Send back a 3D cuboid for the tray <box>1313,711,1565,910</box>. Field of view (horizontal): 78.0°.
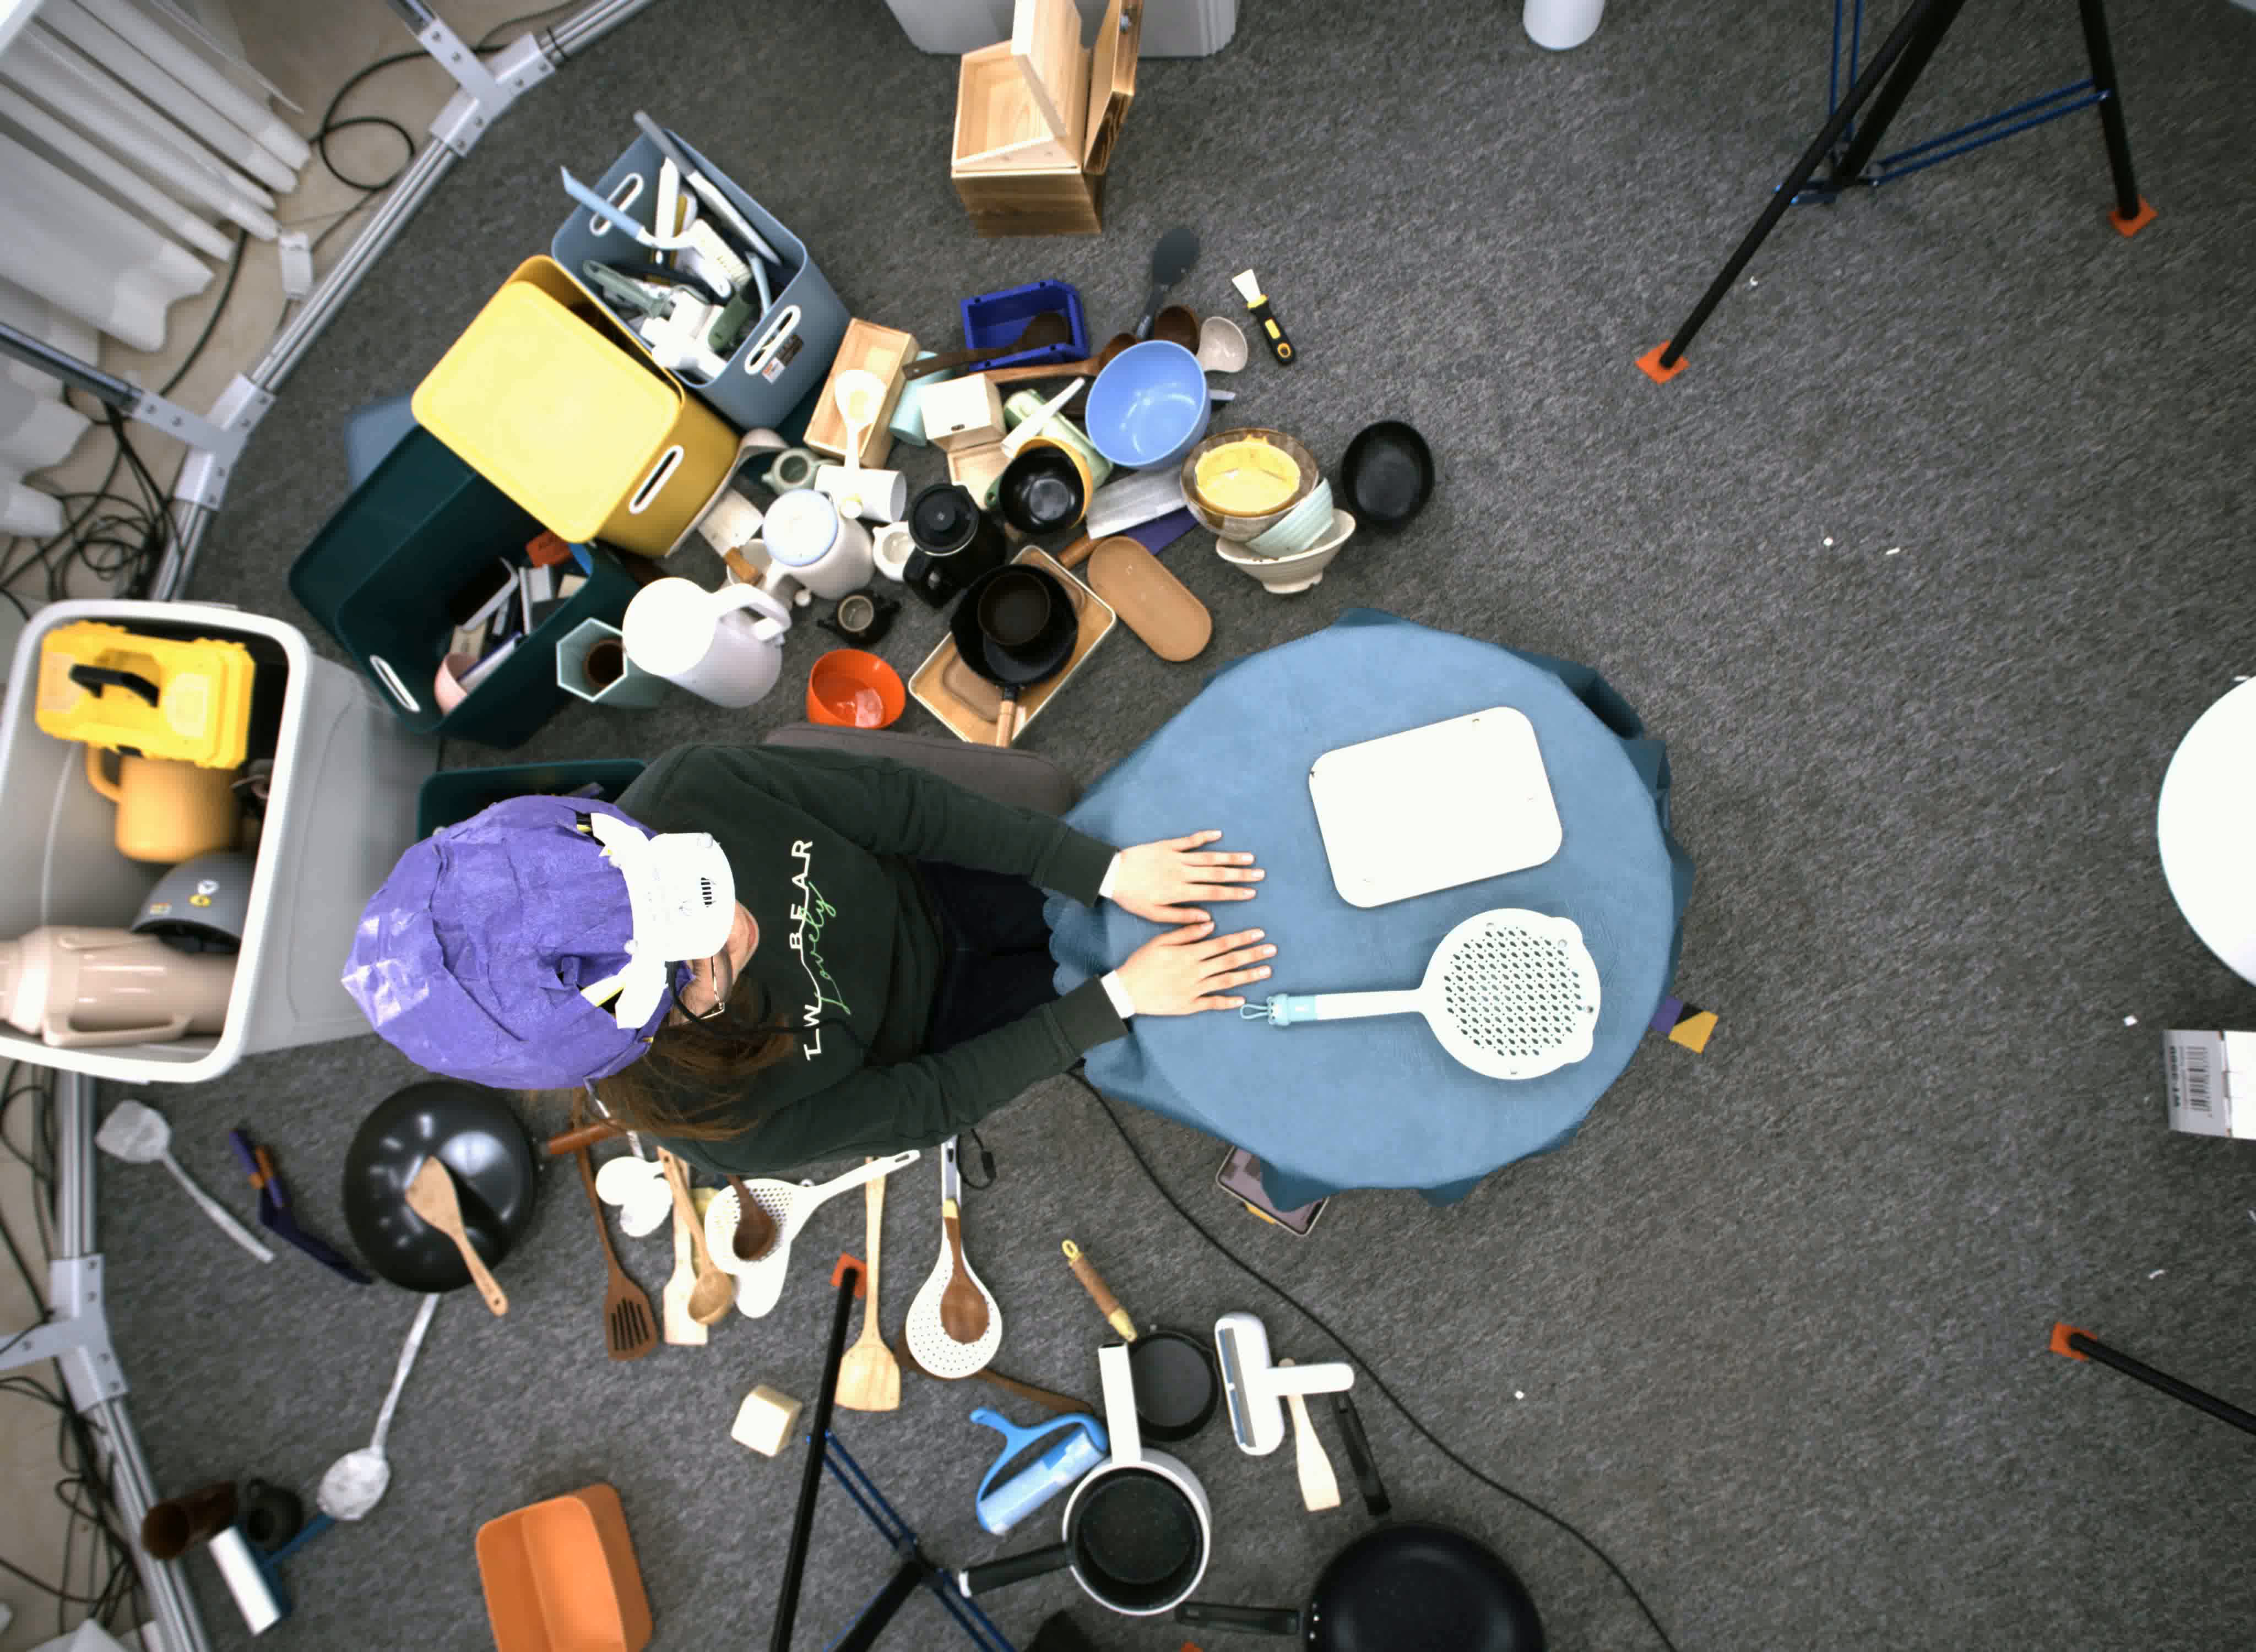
[{"bbox_3d":[0.326,-0.017,1.452,0.241,0.017,0.170,-15,83,10],"label":"tray"}]

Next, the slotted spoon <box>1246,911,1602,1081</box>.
[{"bbox_3d":[0.297,0.179,1.420,0.360,0.075,0.168,-5,84,10],"label":"slotted spoon"}]
